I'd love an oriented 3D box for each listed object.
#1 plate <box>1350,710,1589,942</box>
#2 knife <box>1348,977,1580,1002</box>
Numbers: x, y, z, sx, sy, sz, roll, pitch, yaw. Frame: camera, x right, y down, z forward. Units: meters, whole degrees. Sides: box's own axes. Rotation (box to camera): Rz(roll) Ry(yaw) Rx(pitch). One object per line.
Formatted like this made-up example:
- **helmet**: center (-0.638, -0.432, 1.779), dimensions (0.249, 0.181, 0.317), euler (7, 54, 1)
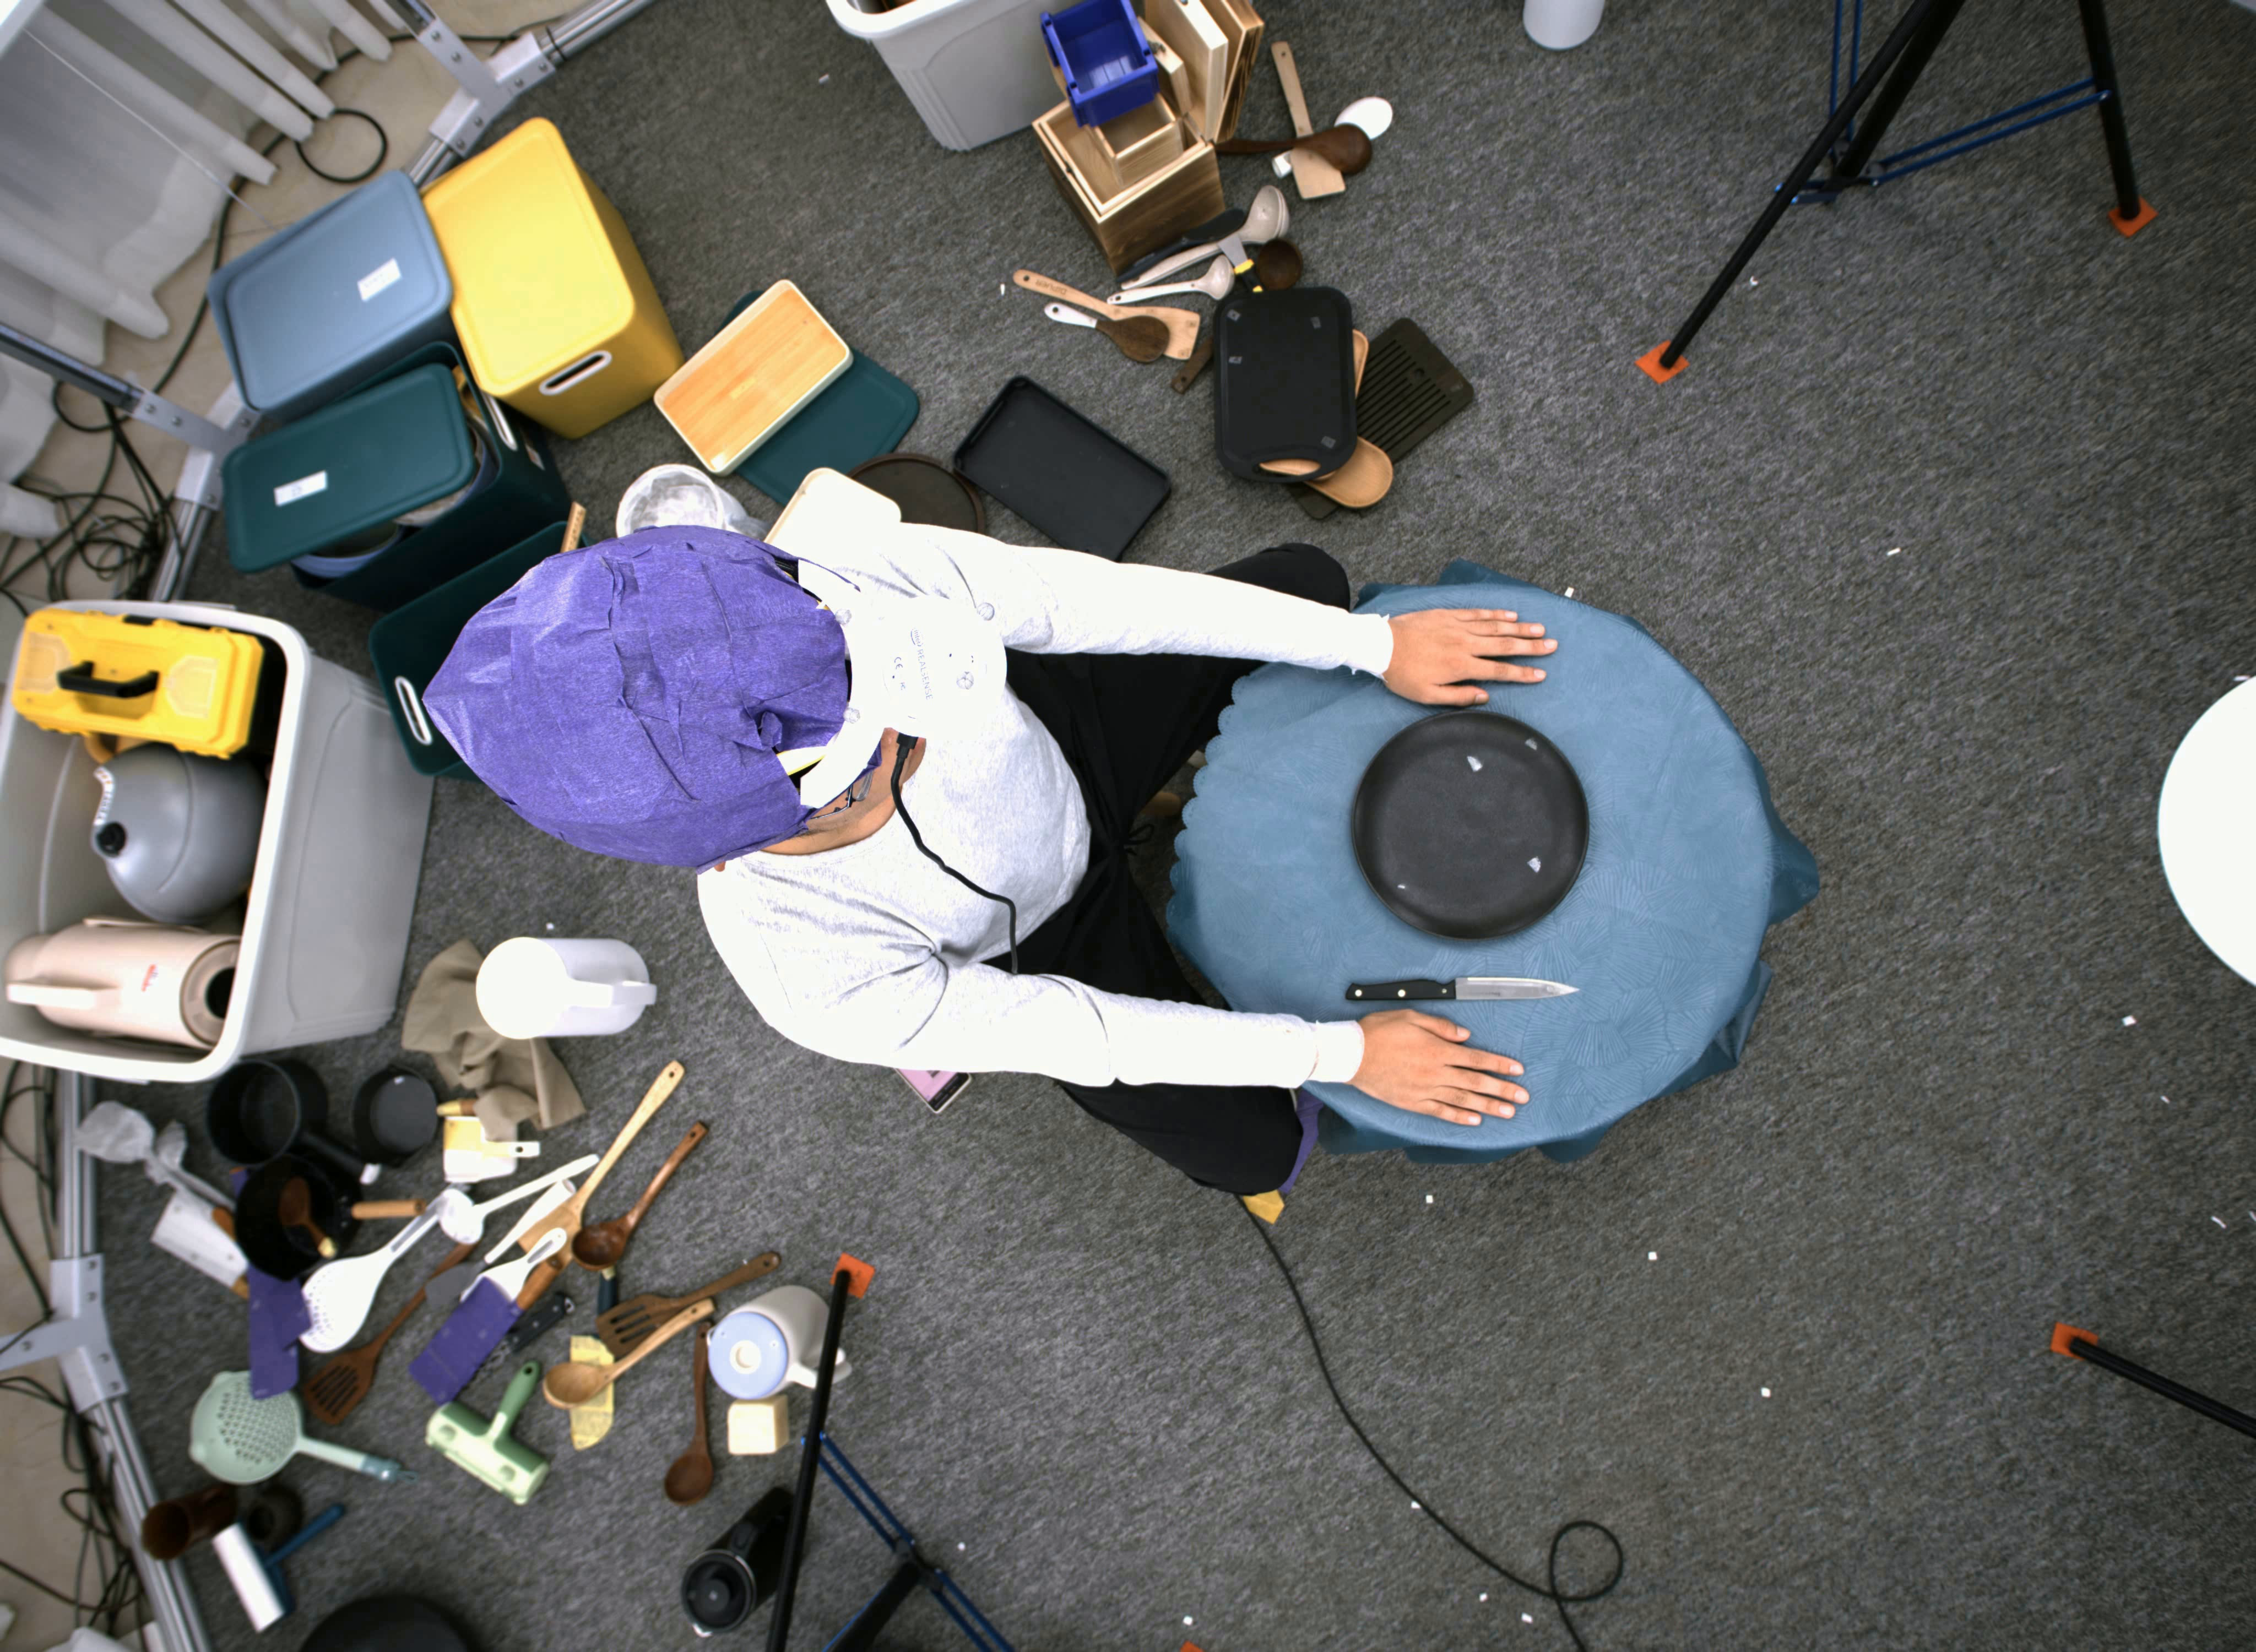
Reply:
- **plate**: center (0.355, -0.002, 1.437), dimensions (0.245, 0.023, 0.243), euler (-1, 87, 11)
- **knife**: center (0.349, 0.169, 1.434), dimensions (0.239, 0.016, 0.024), euler (-2, 85, 8)
